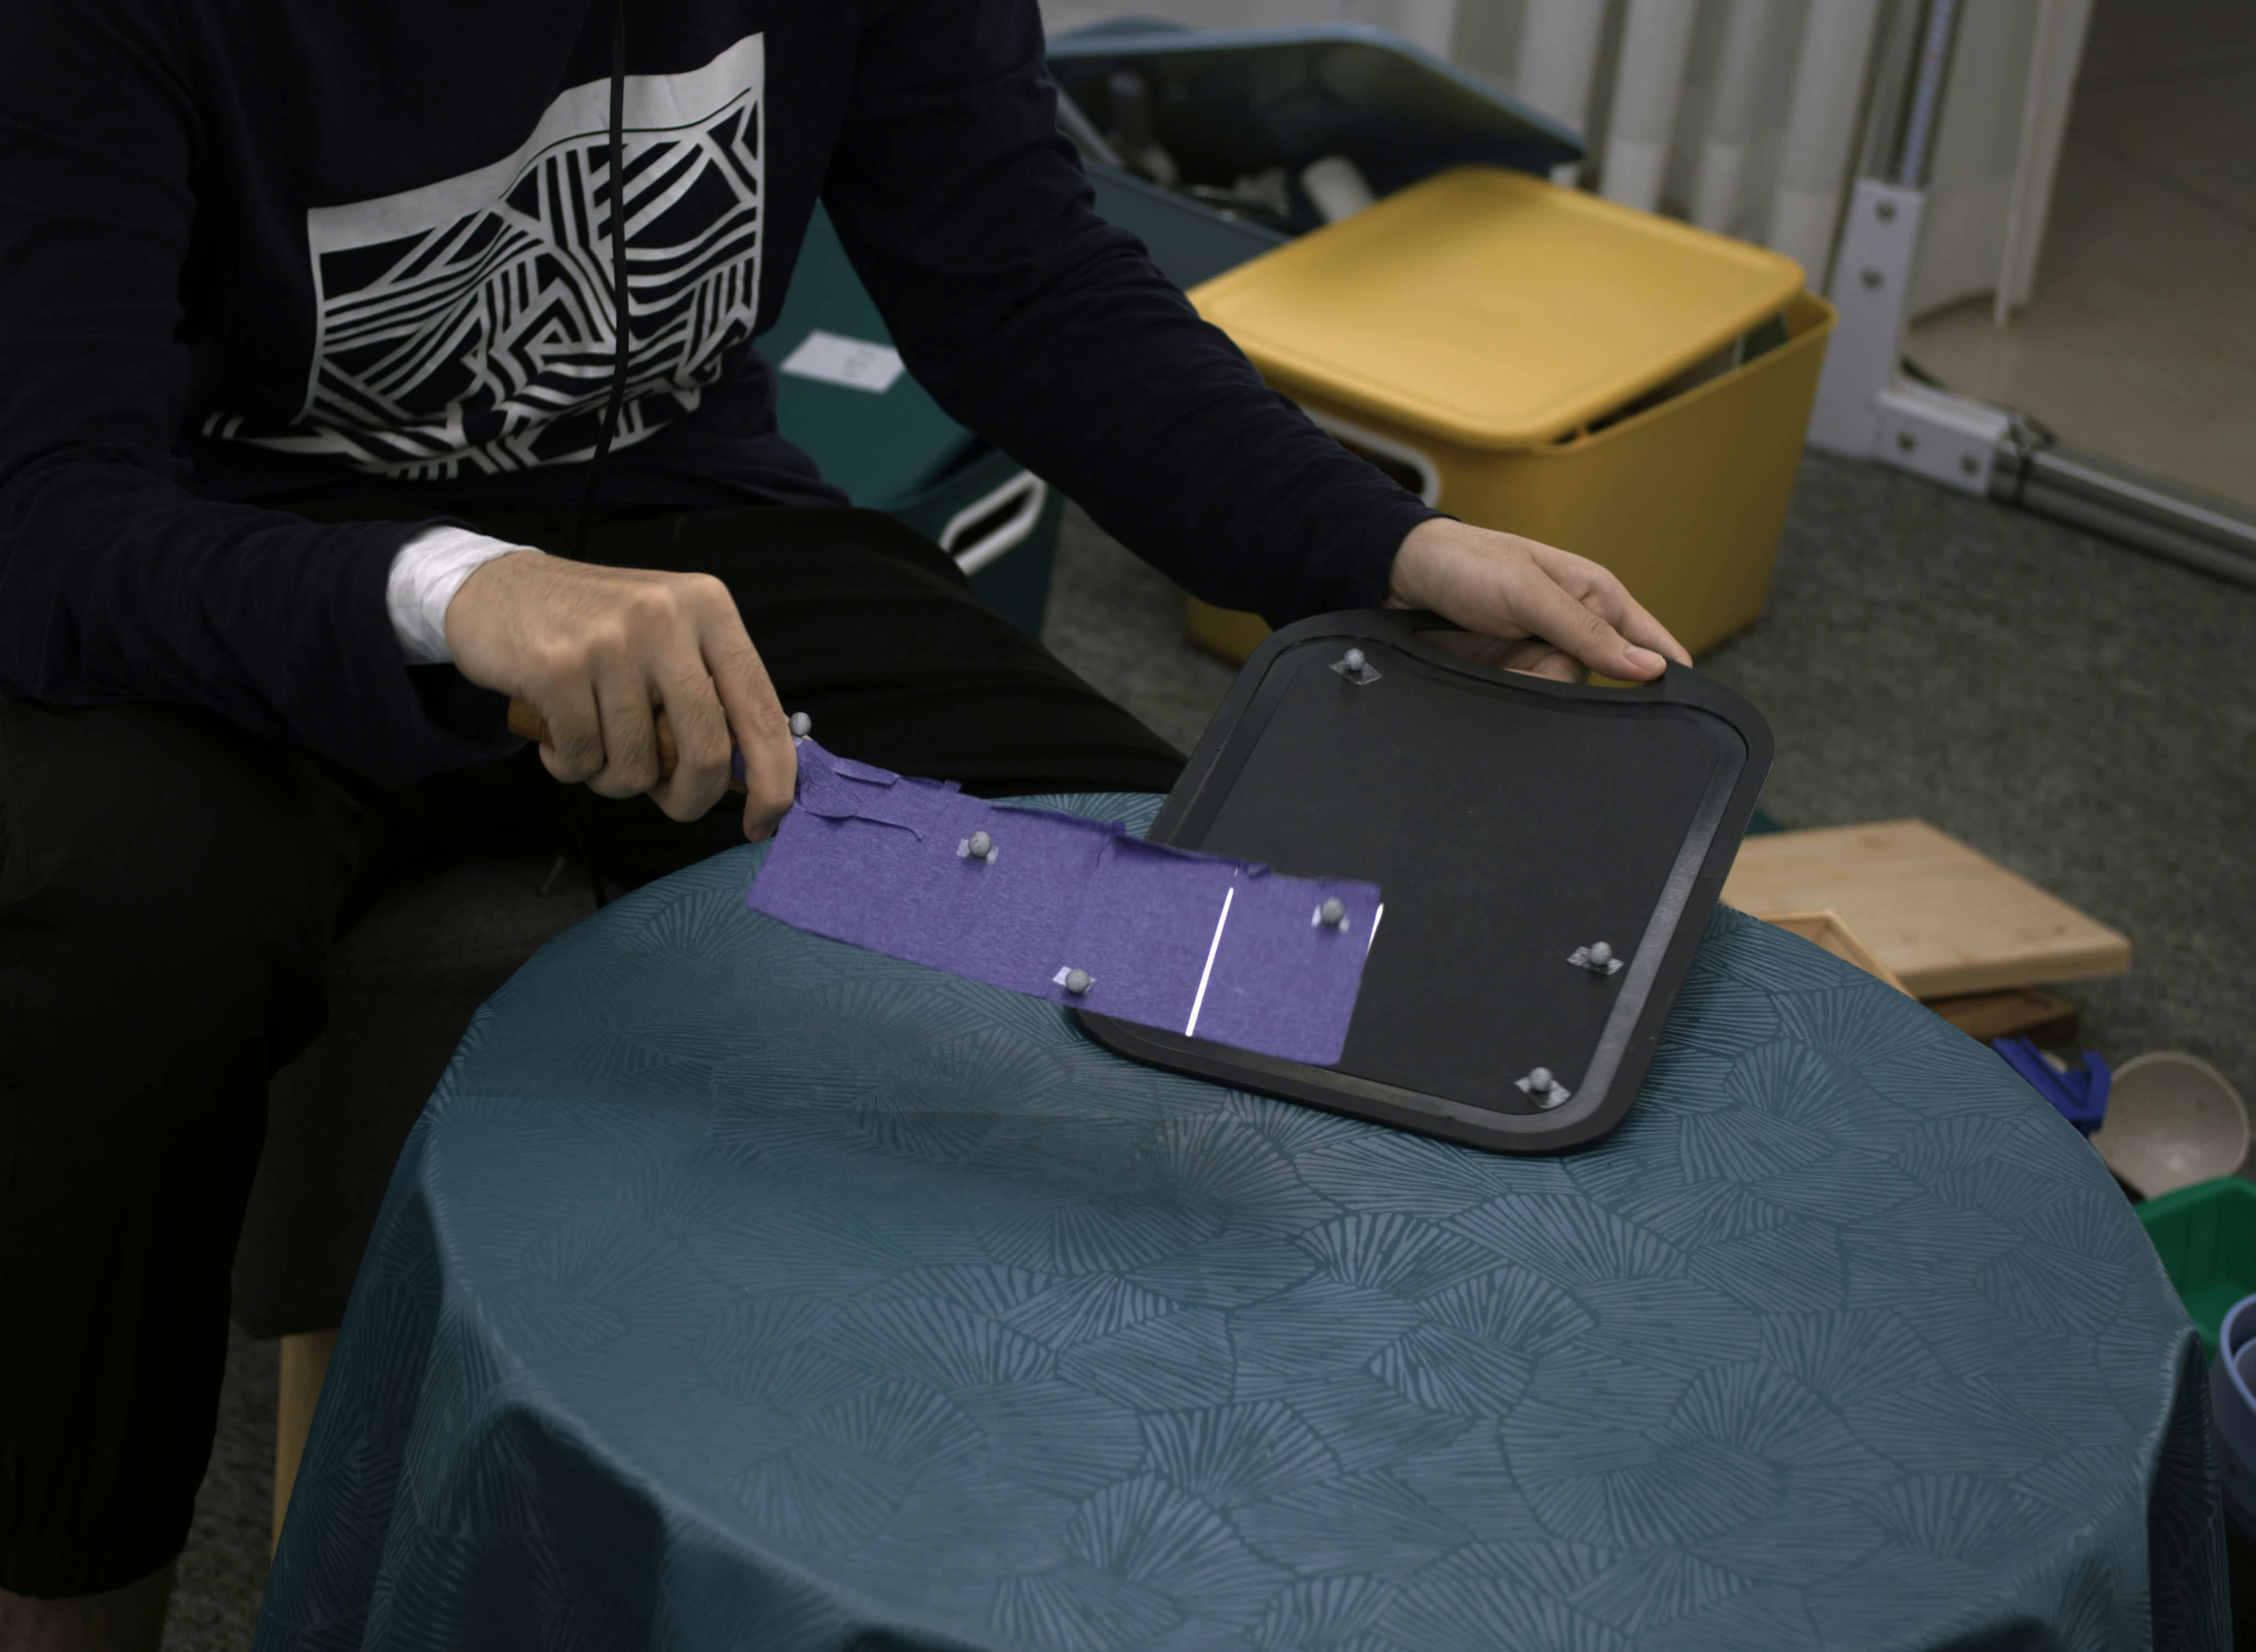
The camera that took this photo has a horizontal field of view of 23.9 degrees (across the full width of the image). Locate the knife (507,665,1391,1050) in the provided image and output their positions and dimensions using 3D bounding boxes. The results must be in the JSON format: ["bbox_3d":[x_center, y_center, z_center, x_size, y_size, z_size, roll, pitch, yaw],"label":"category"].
[{"bbox_3d":[-0.069,0.011,1.814,0.315,0.032,0.104,14,37,7],"label":"knife"}]

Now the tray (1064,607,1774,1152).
[{"bbox_3d":[0.115,0.008,1.992,0.211,0.010,0.326,13,37,15],"label":"tray"}]
